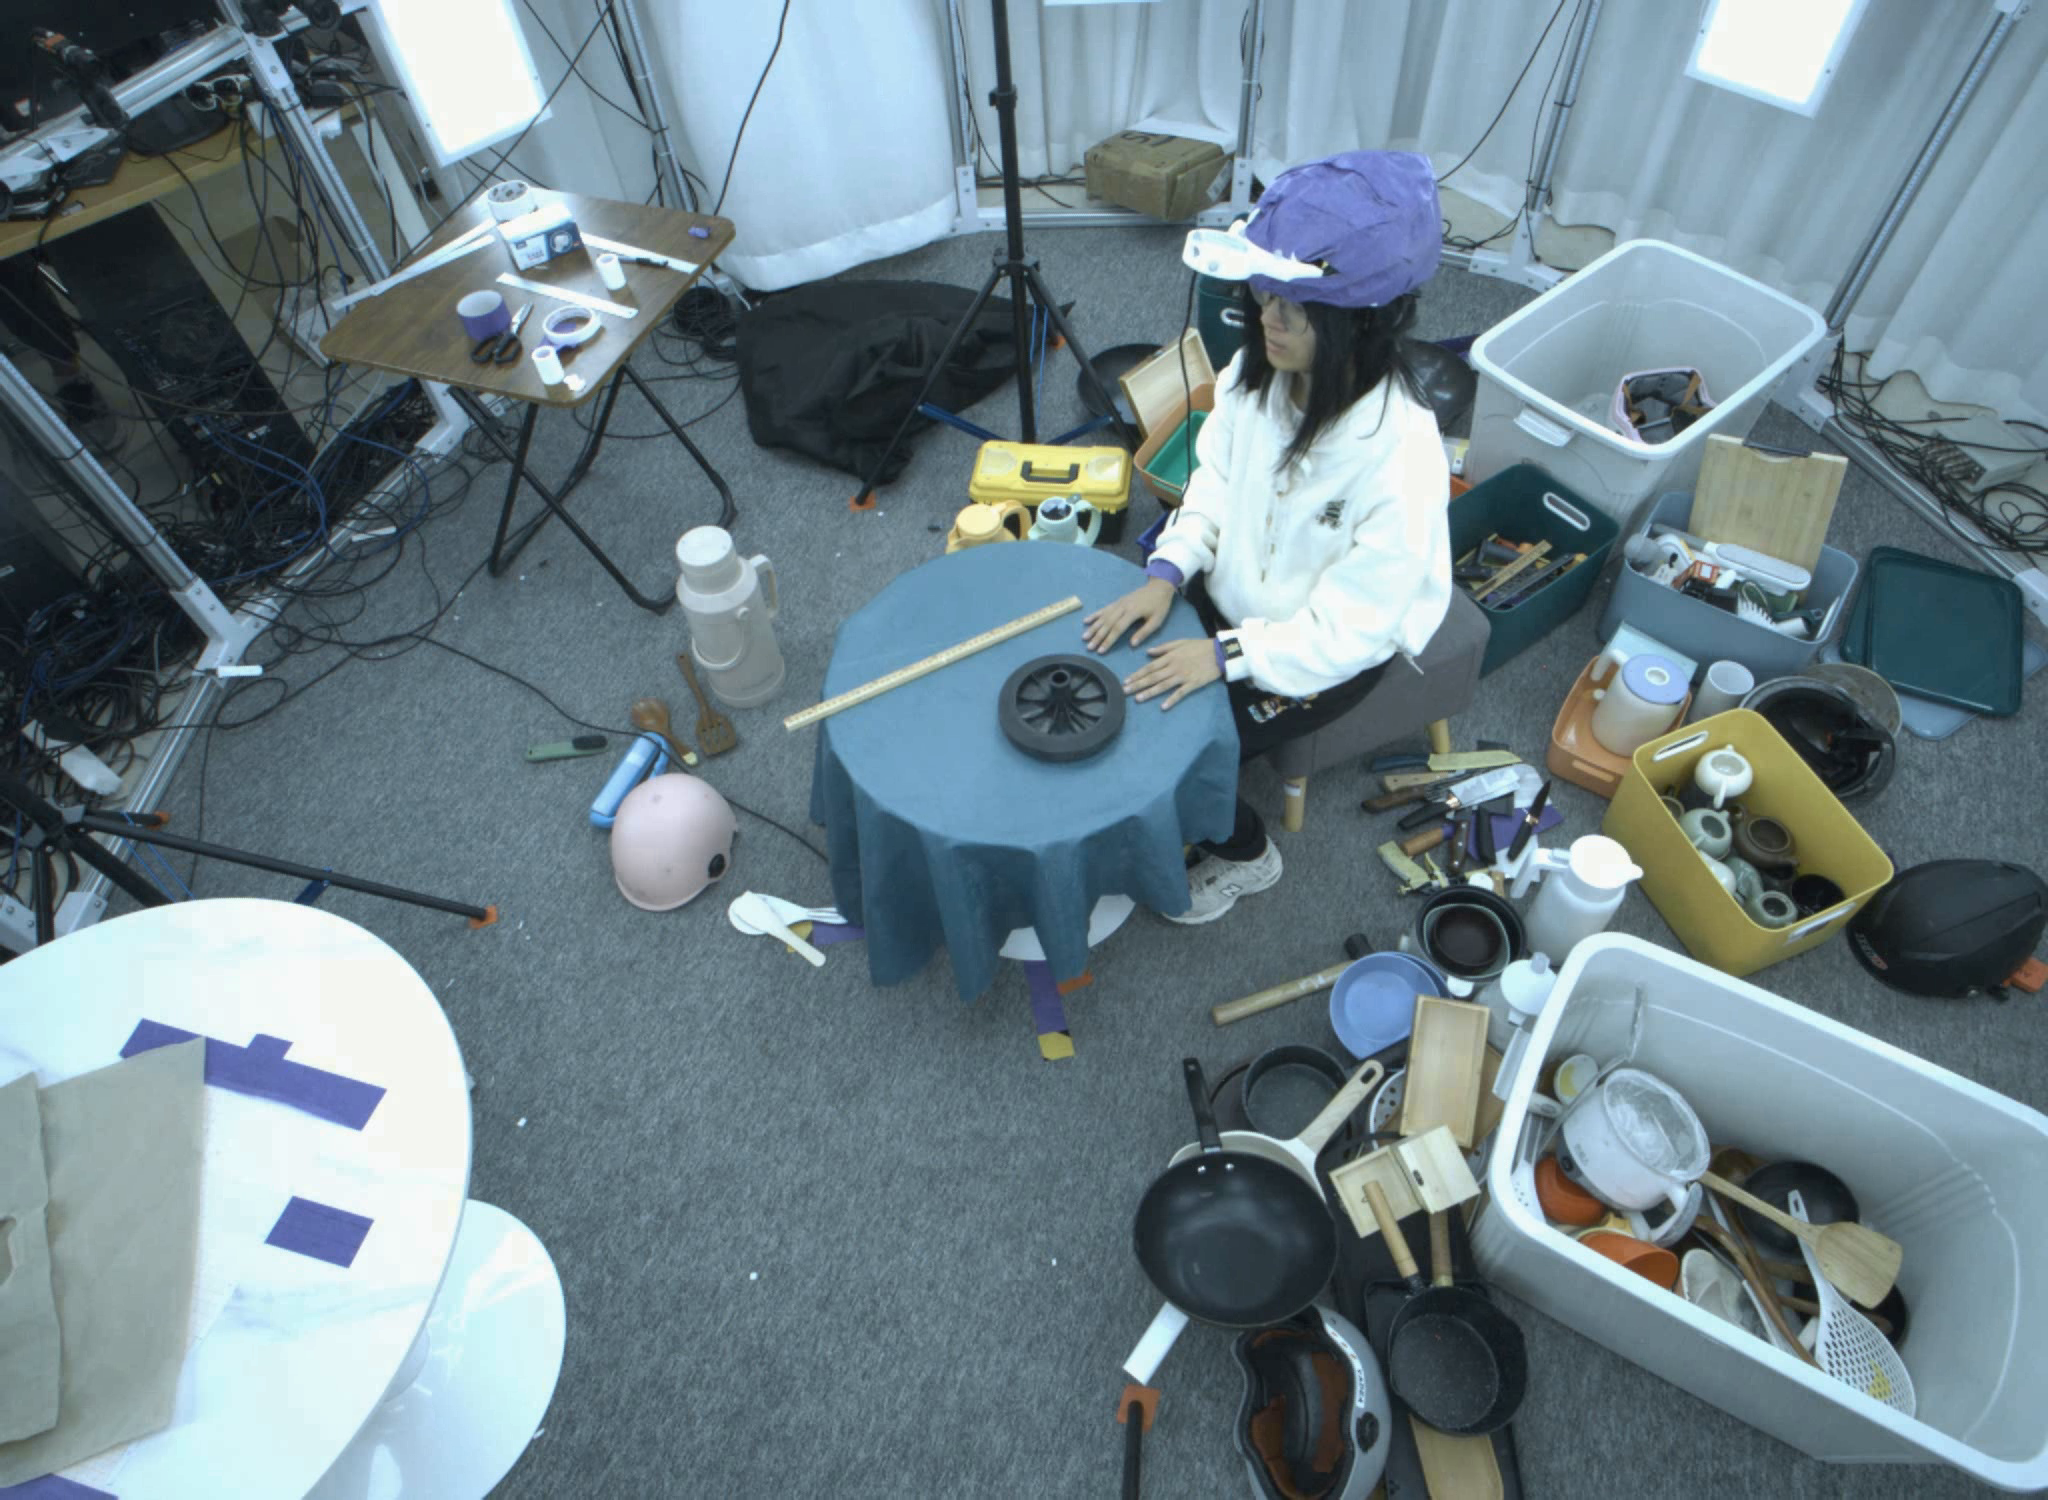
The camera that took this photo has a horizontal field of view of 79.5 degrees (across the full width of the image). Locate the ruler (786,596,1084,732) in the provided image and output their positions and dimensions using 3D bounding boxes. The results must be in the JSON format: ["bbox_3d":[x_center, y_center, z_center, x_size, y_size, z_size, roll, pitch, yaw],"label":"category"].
[{"bbox_3d":[-0.133,-0.138,1.887,0.504,0.006,0.026,-24,56,-15],"label":"ruler"}]

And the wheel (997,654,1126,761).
[{"bbox_3d":[0.054,-0.077,1.794,0.187,0.080,0.188,22,59,16],"label":"wheel"}]
